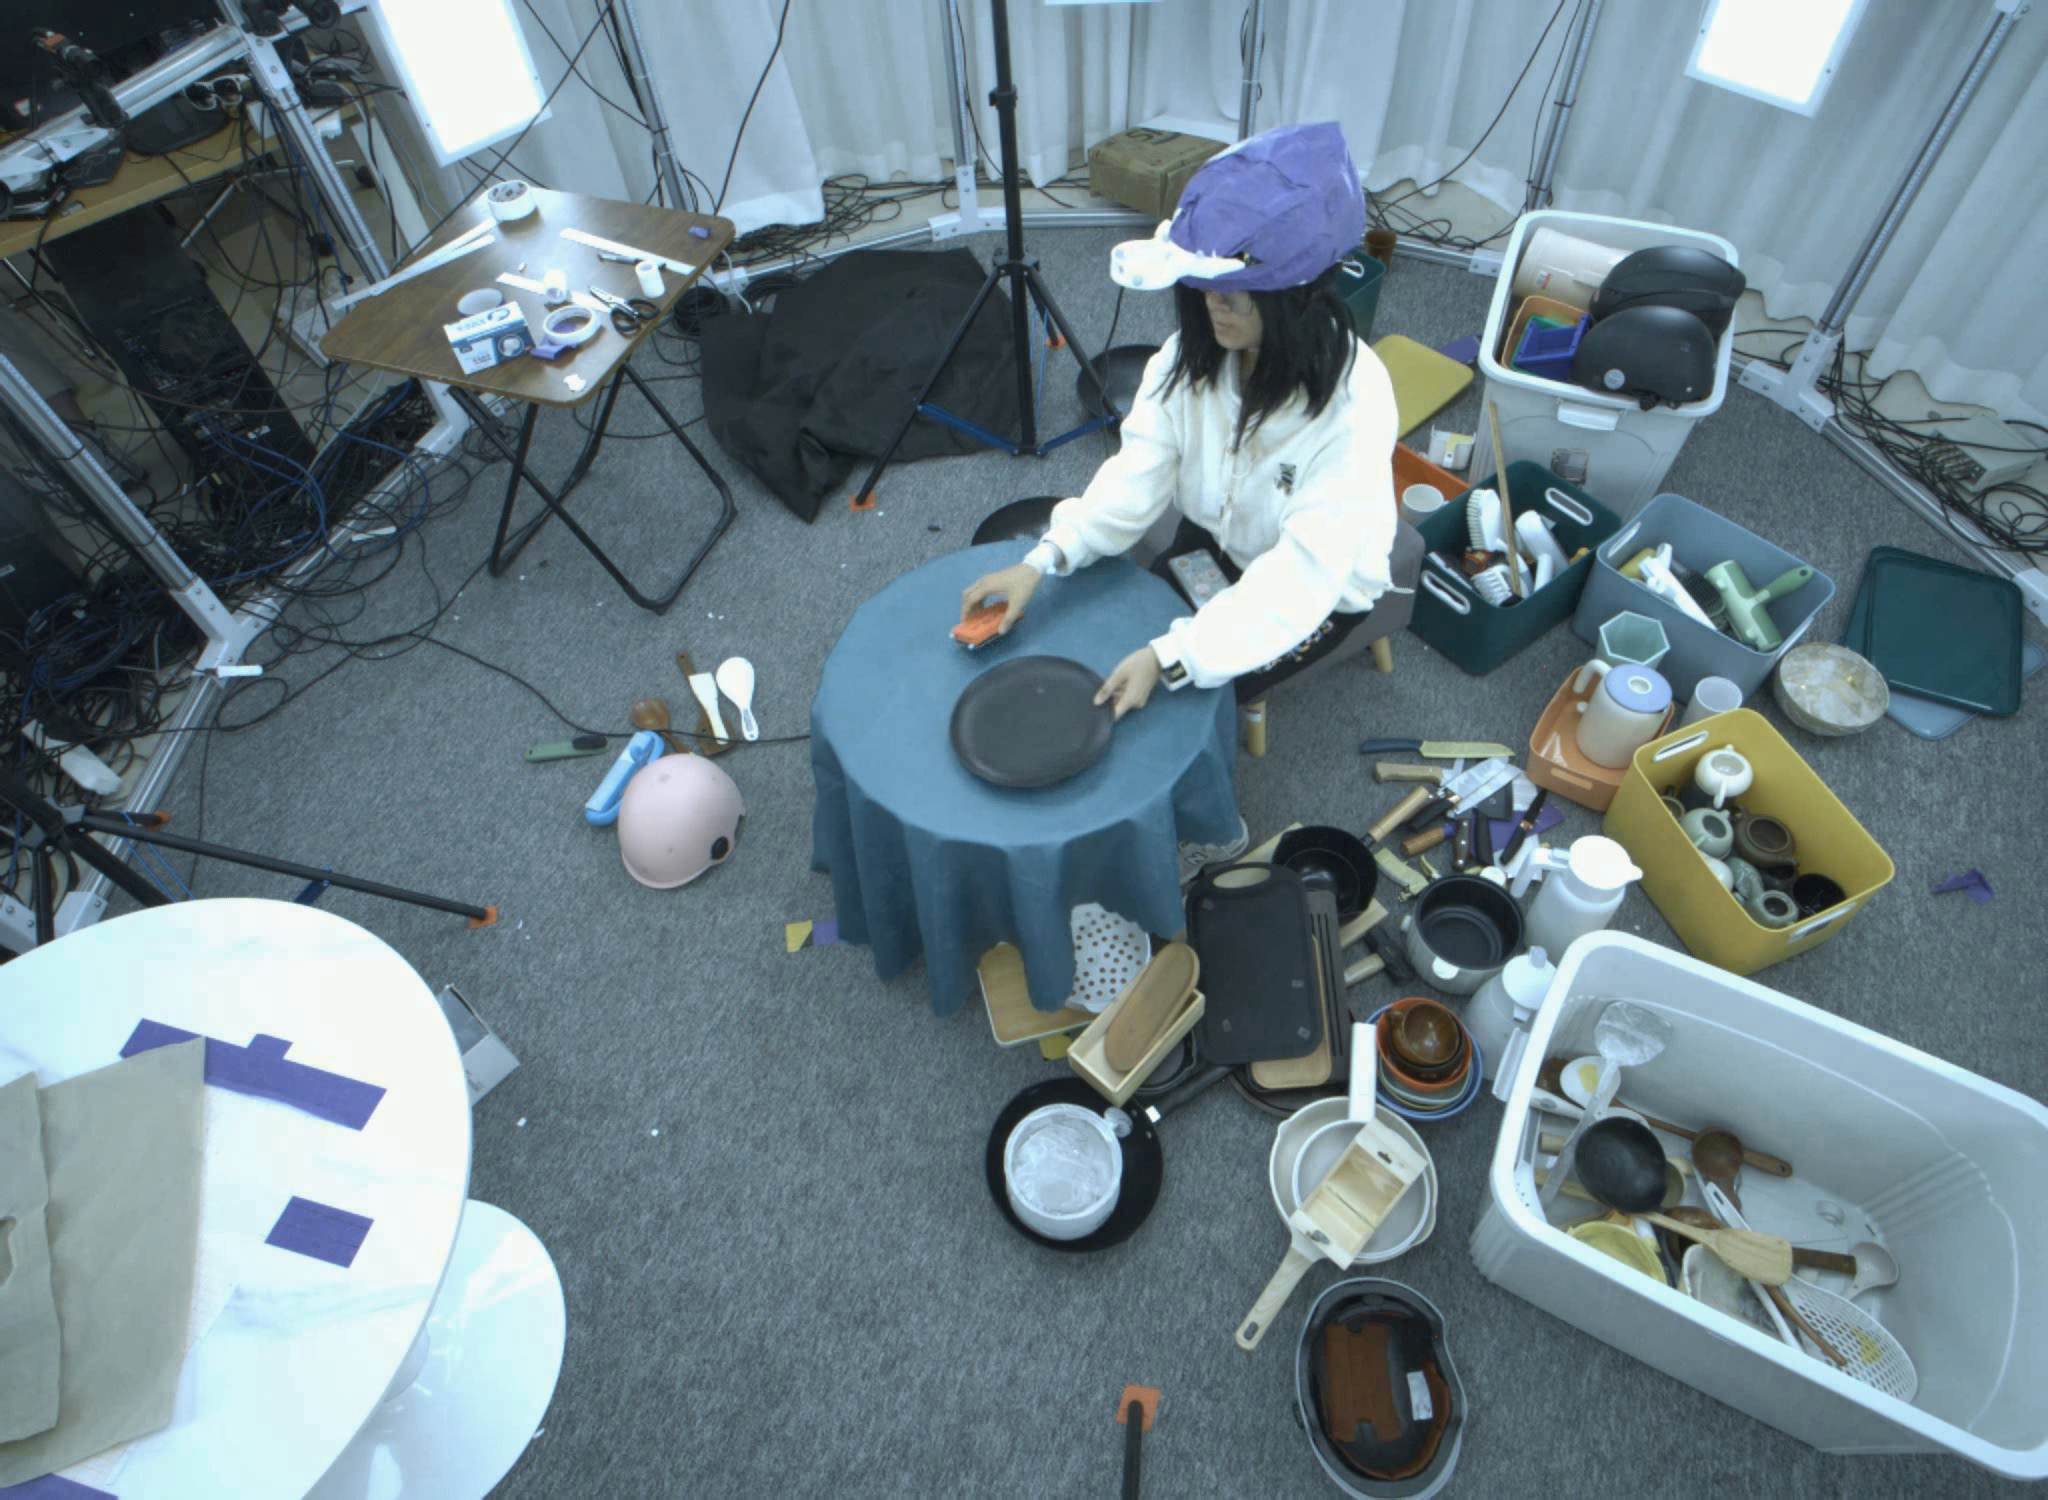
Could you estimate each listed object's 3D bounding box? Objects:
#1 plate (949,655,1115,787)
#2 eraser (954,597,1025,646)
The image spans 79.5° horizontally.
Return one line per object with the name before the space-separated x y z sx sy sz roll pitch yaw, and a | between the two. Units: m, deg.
plate | 0.012 -0.040 1.792 0.243 0.024 0.242 -3 54 6
eraser | -0.053 -0.199 1.892 0.109 0.023 0.057 -37 37 -30
